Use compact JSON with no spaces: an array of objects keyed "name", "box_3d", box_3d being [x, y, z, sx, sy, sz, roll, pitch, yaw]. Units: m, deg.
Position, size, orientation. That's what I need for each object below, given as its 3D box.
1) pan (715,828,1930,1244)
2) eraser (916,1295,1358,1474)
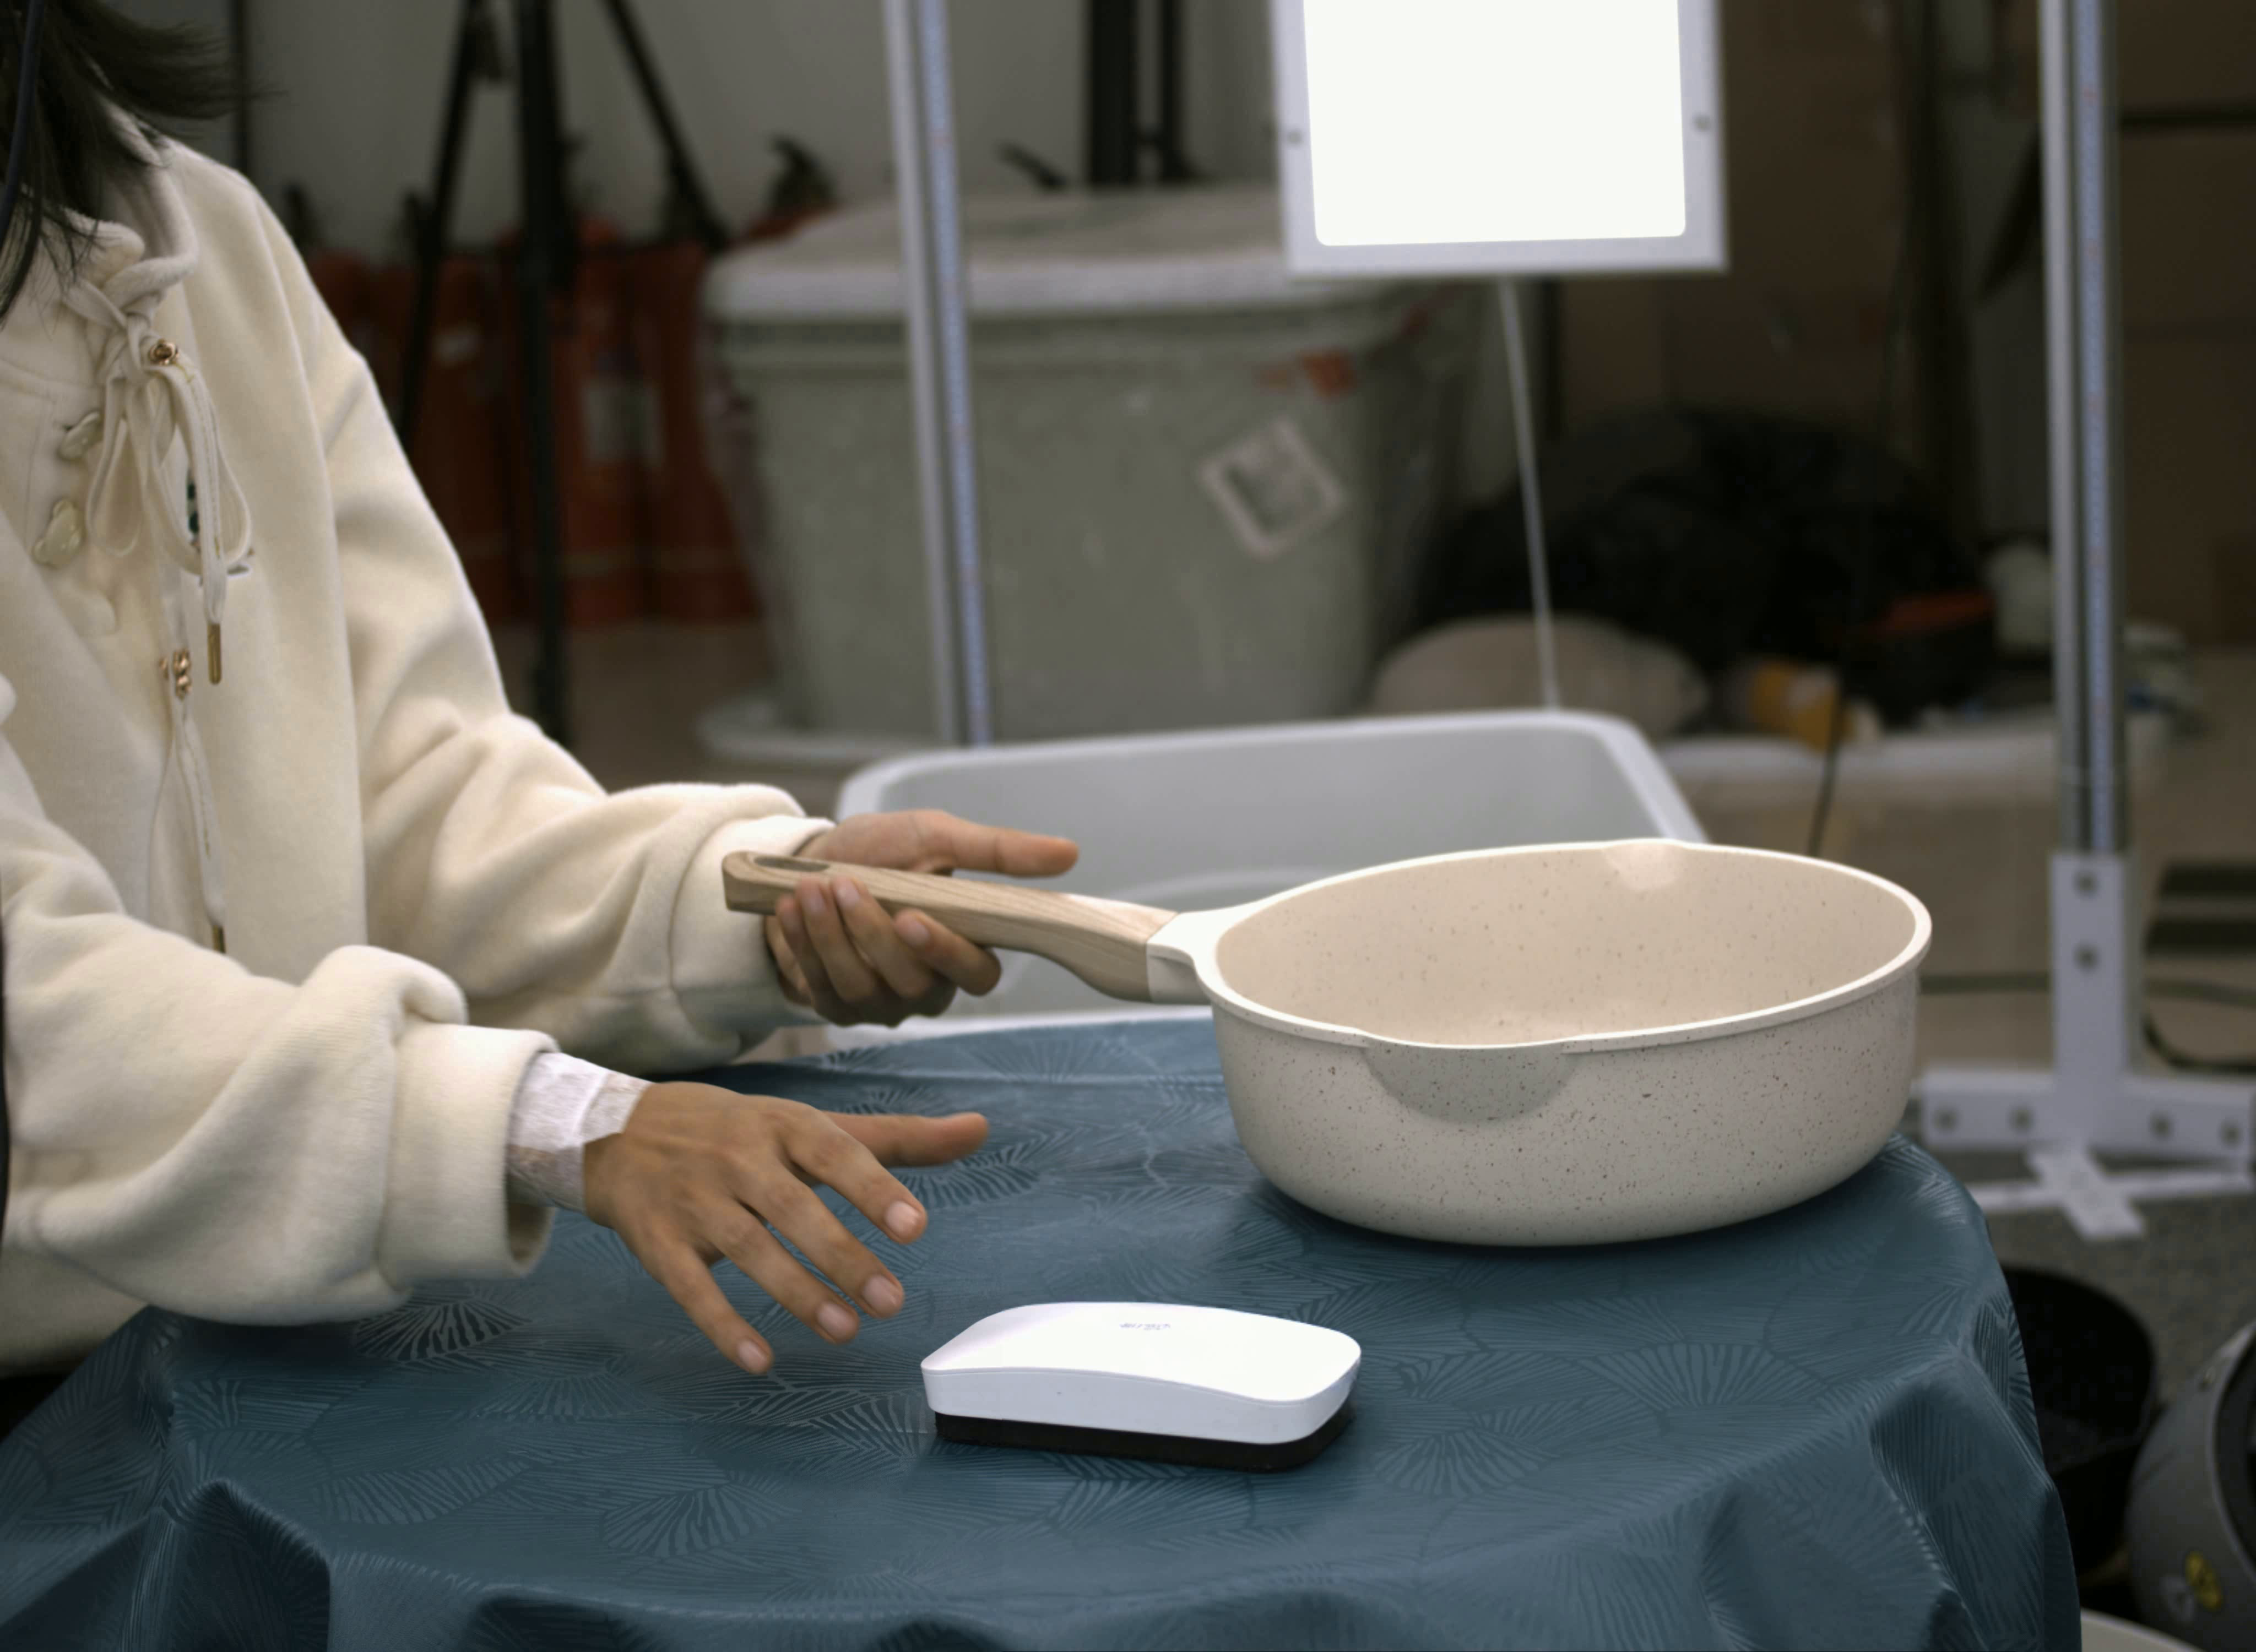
[{"name":"pan","box_3d":[0.063,0.065,1.911,0.441,0.102,0.259,1,16,21]},{"name":"eraser","box_3d":[0.003,0.168,1.665,0.133,0.034,0.062,3,13,28]}]
